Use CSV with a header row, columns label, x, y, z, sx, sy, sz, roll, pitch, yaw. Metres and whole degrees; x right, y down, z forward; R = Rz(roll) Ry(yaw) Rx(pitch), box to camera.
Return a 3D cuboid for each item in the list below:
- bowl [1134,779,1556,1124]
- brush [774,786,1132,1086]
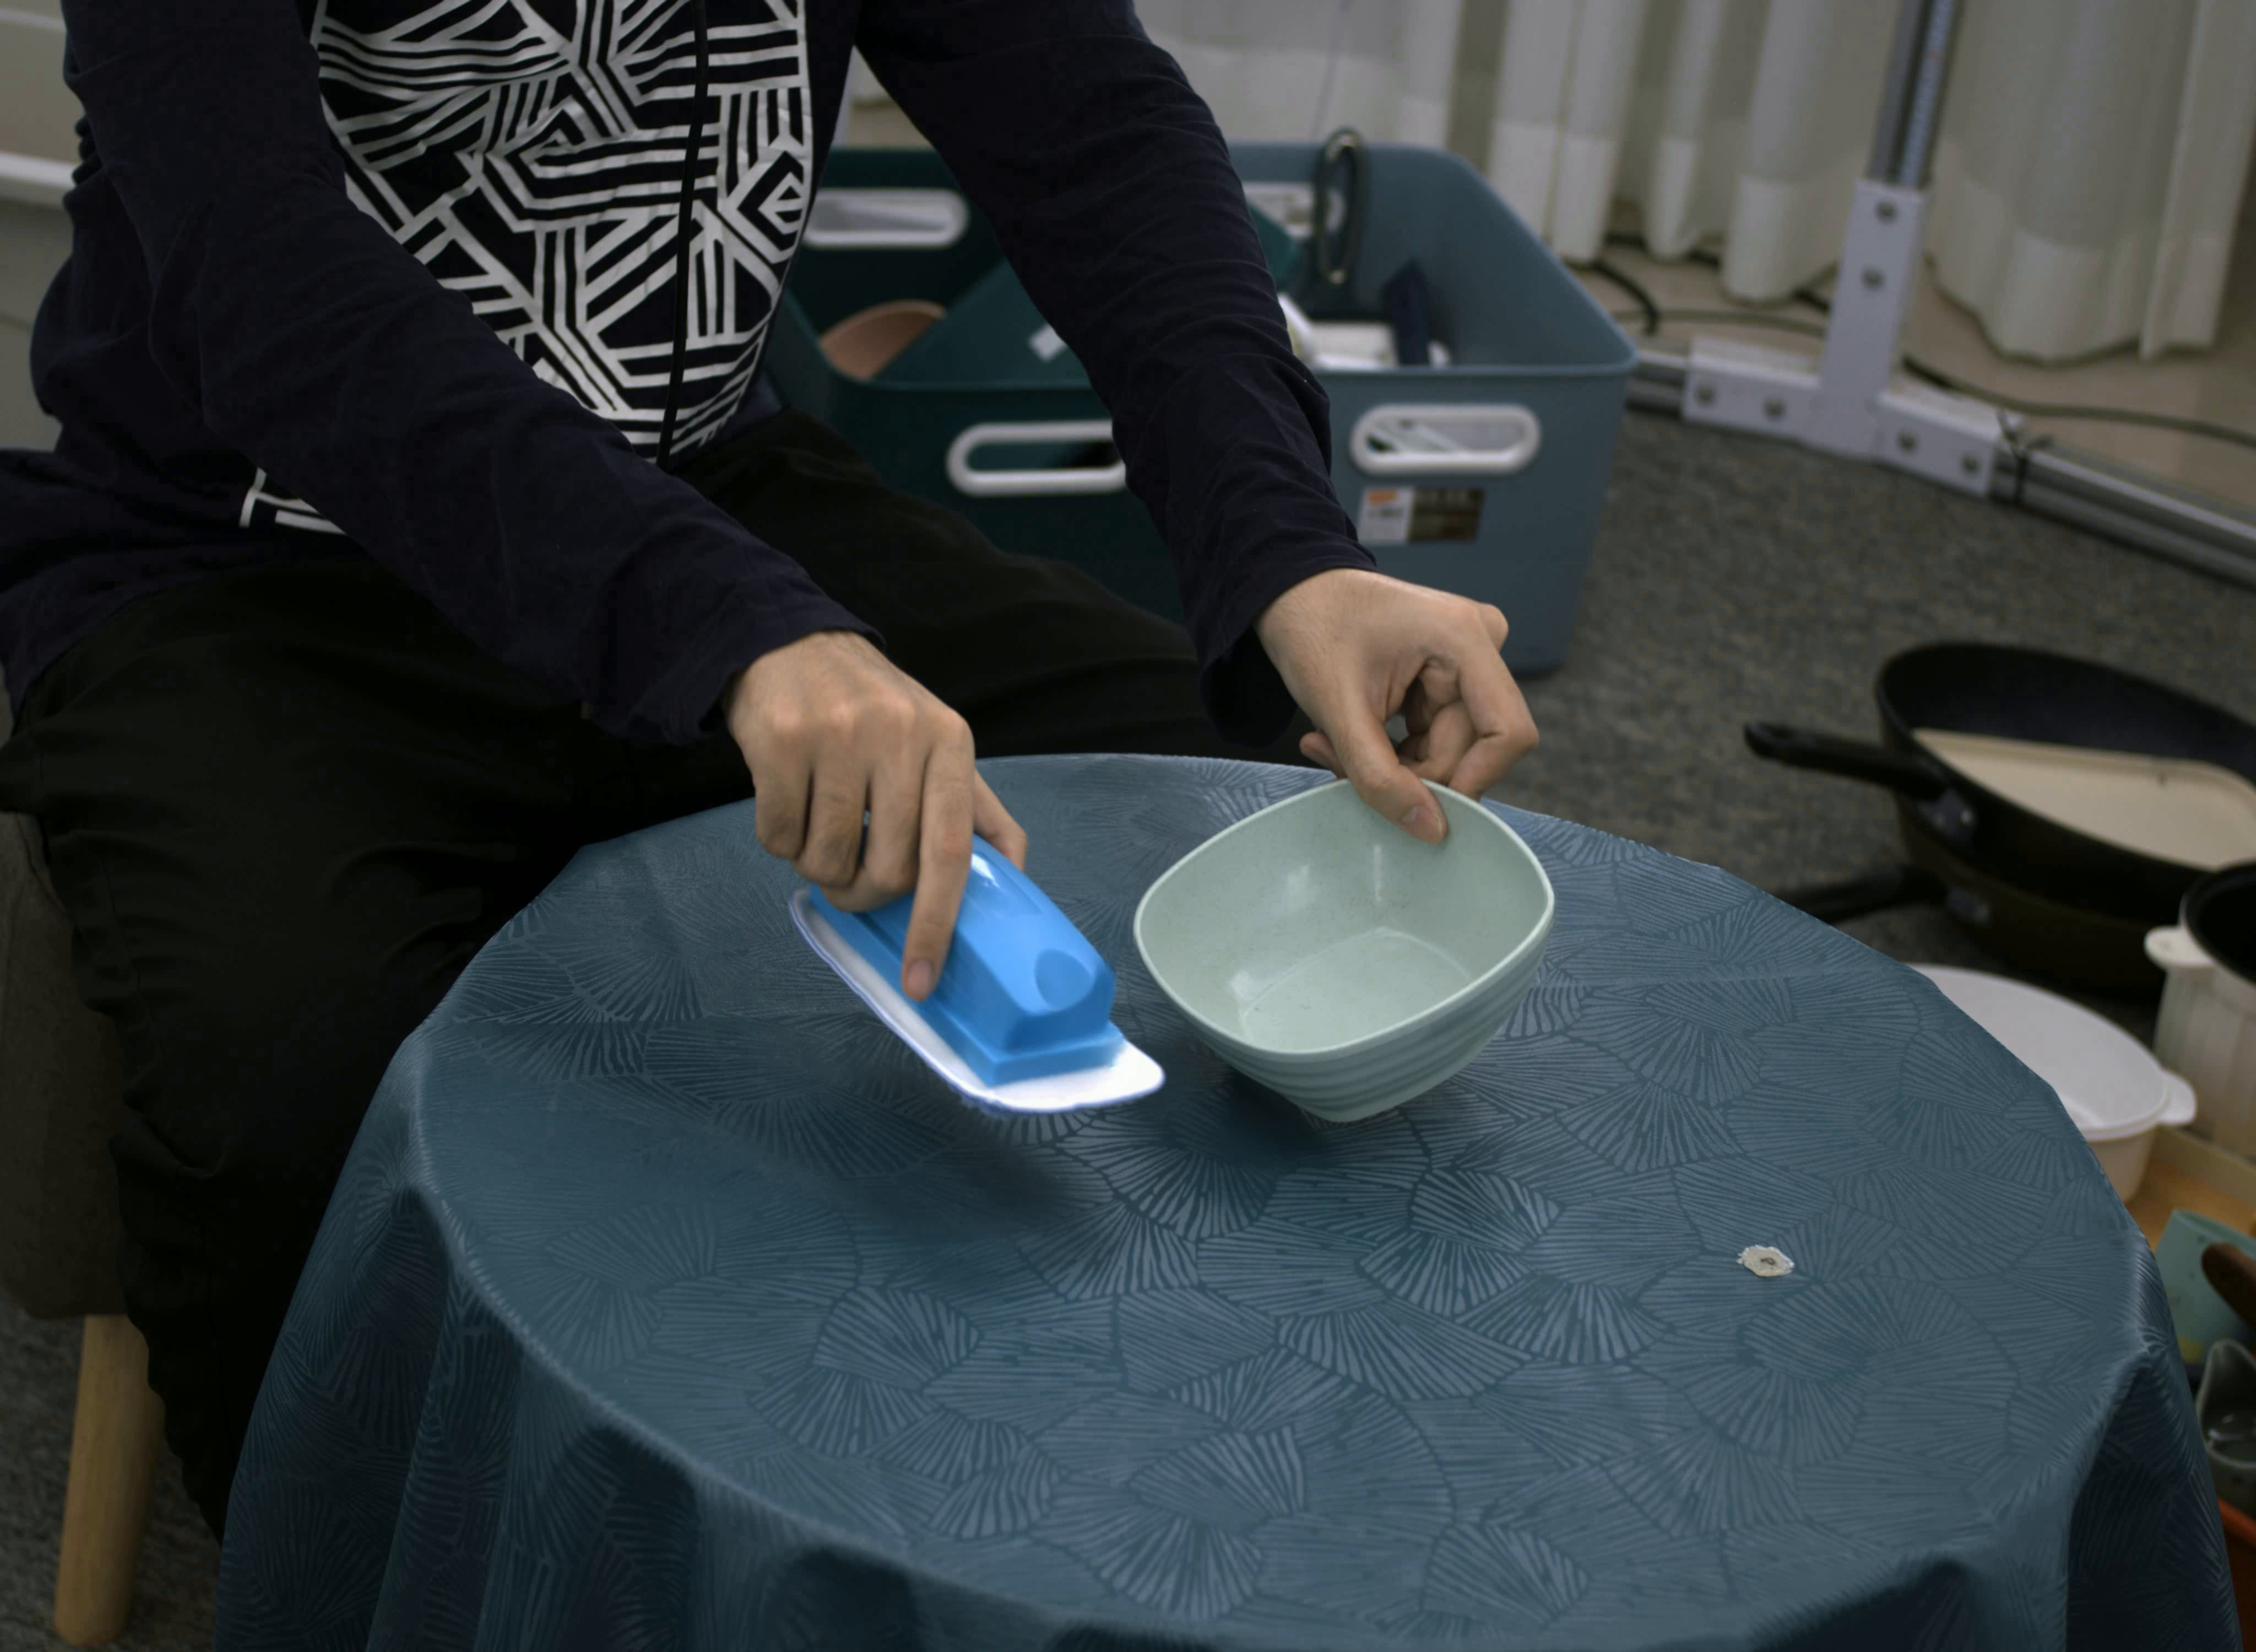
label,x,y,z,sx,sy,sz,roll,pitch,yaw
bowl,0.080,0.052,1.877,0.151,0.058,0.152,-10,36,7
brush,-0.055,0.033,1.797,0.083,0.056,0.145,-1,33,-35
